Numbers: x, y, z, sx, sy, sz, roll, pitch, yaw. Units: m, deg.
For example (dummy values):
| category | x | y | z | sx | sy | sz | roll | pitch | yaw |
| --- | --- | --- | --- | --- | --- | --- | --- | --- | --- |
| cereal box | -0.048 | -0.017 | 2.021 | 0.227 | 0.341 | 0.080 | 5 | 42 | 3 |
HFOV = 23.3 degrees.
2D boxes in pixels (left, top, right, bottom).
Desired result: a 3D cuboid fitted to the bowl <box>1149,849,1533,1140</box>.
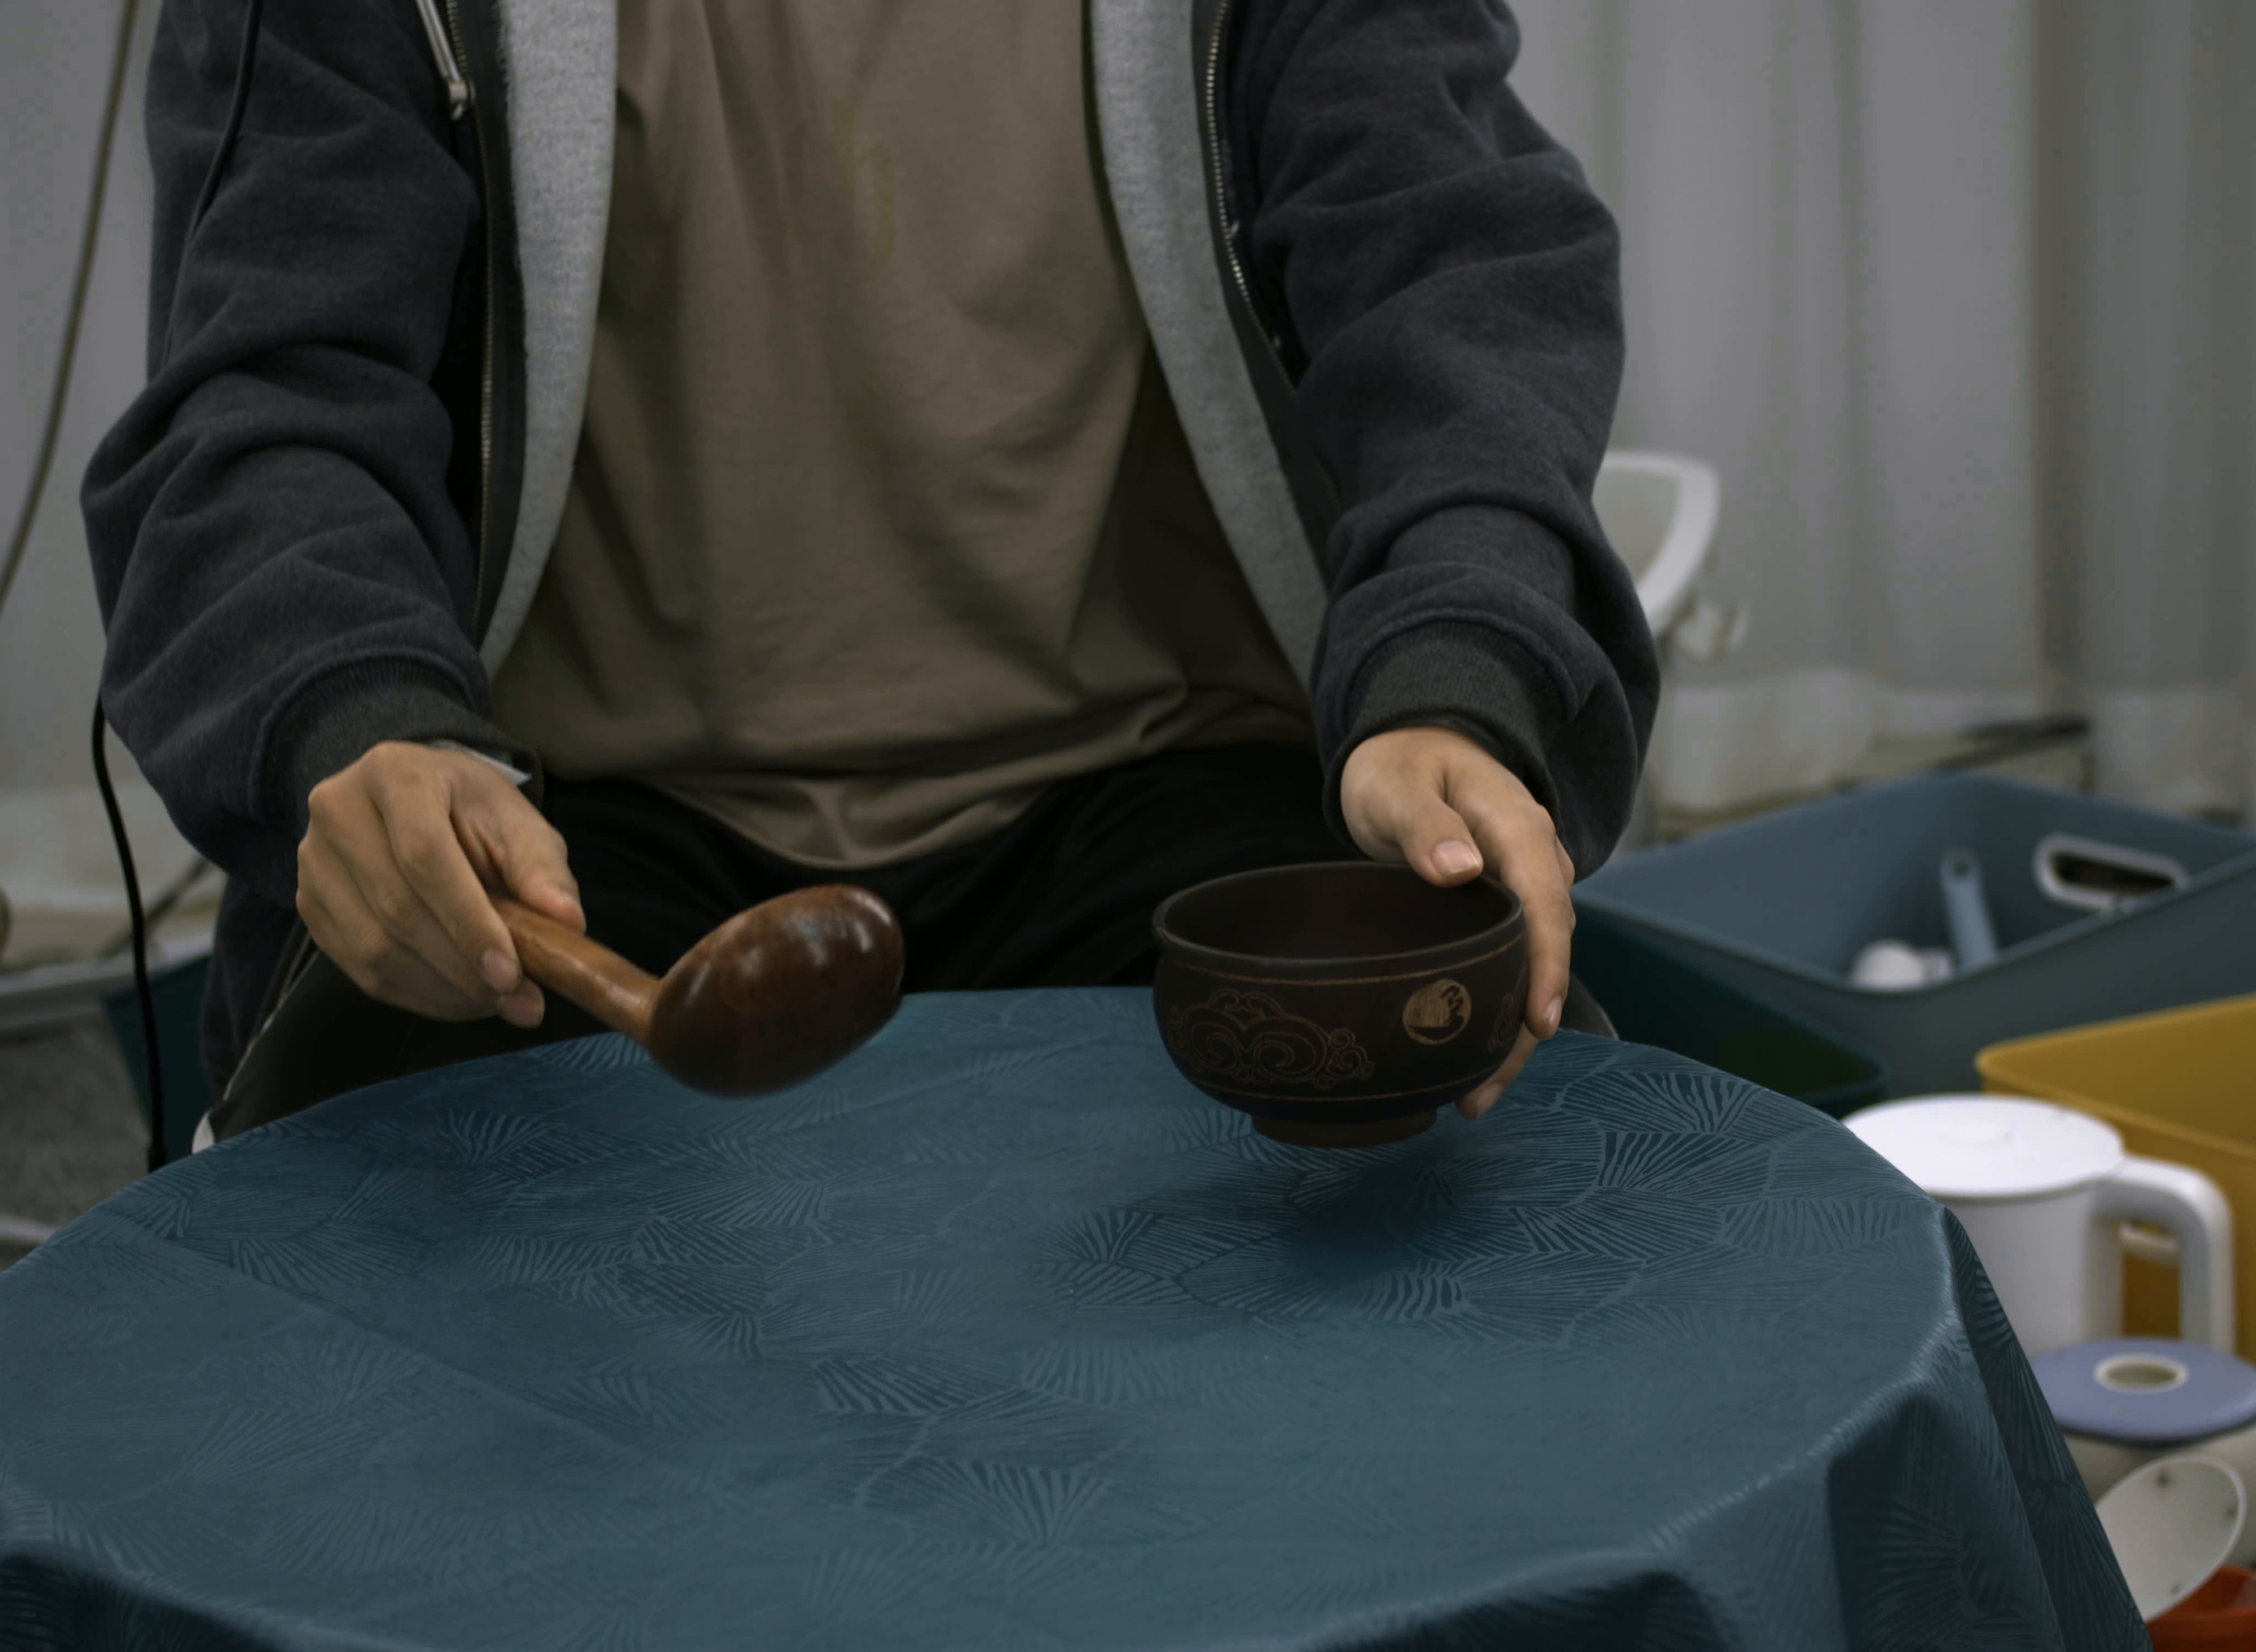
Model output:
| category | x | y | z | sx | sy | sz | roll | pitch | yaw |
| --- | --- | --- | --- | --- | --- | --- | --- | --- | --- |
| bowl | 0.066 | 0.055 | 1.679 | 0.117 | 0.069 | 0.119 | -3 | 14 | 1 |

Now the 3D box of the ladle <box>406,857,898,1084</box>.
| category | x | y | z | sx | sy | sz | roll | pitch | yaw |
| --- | --- | --- | --- | --- | --- | --- | --- | --- | --- |
| ladle | -0.159 | 0.019 | 1.650 | 0.081 | 0.076 | 0.276 | -11 | 20 | -29 |
